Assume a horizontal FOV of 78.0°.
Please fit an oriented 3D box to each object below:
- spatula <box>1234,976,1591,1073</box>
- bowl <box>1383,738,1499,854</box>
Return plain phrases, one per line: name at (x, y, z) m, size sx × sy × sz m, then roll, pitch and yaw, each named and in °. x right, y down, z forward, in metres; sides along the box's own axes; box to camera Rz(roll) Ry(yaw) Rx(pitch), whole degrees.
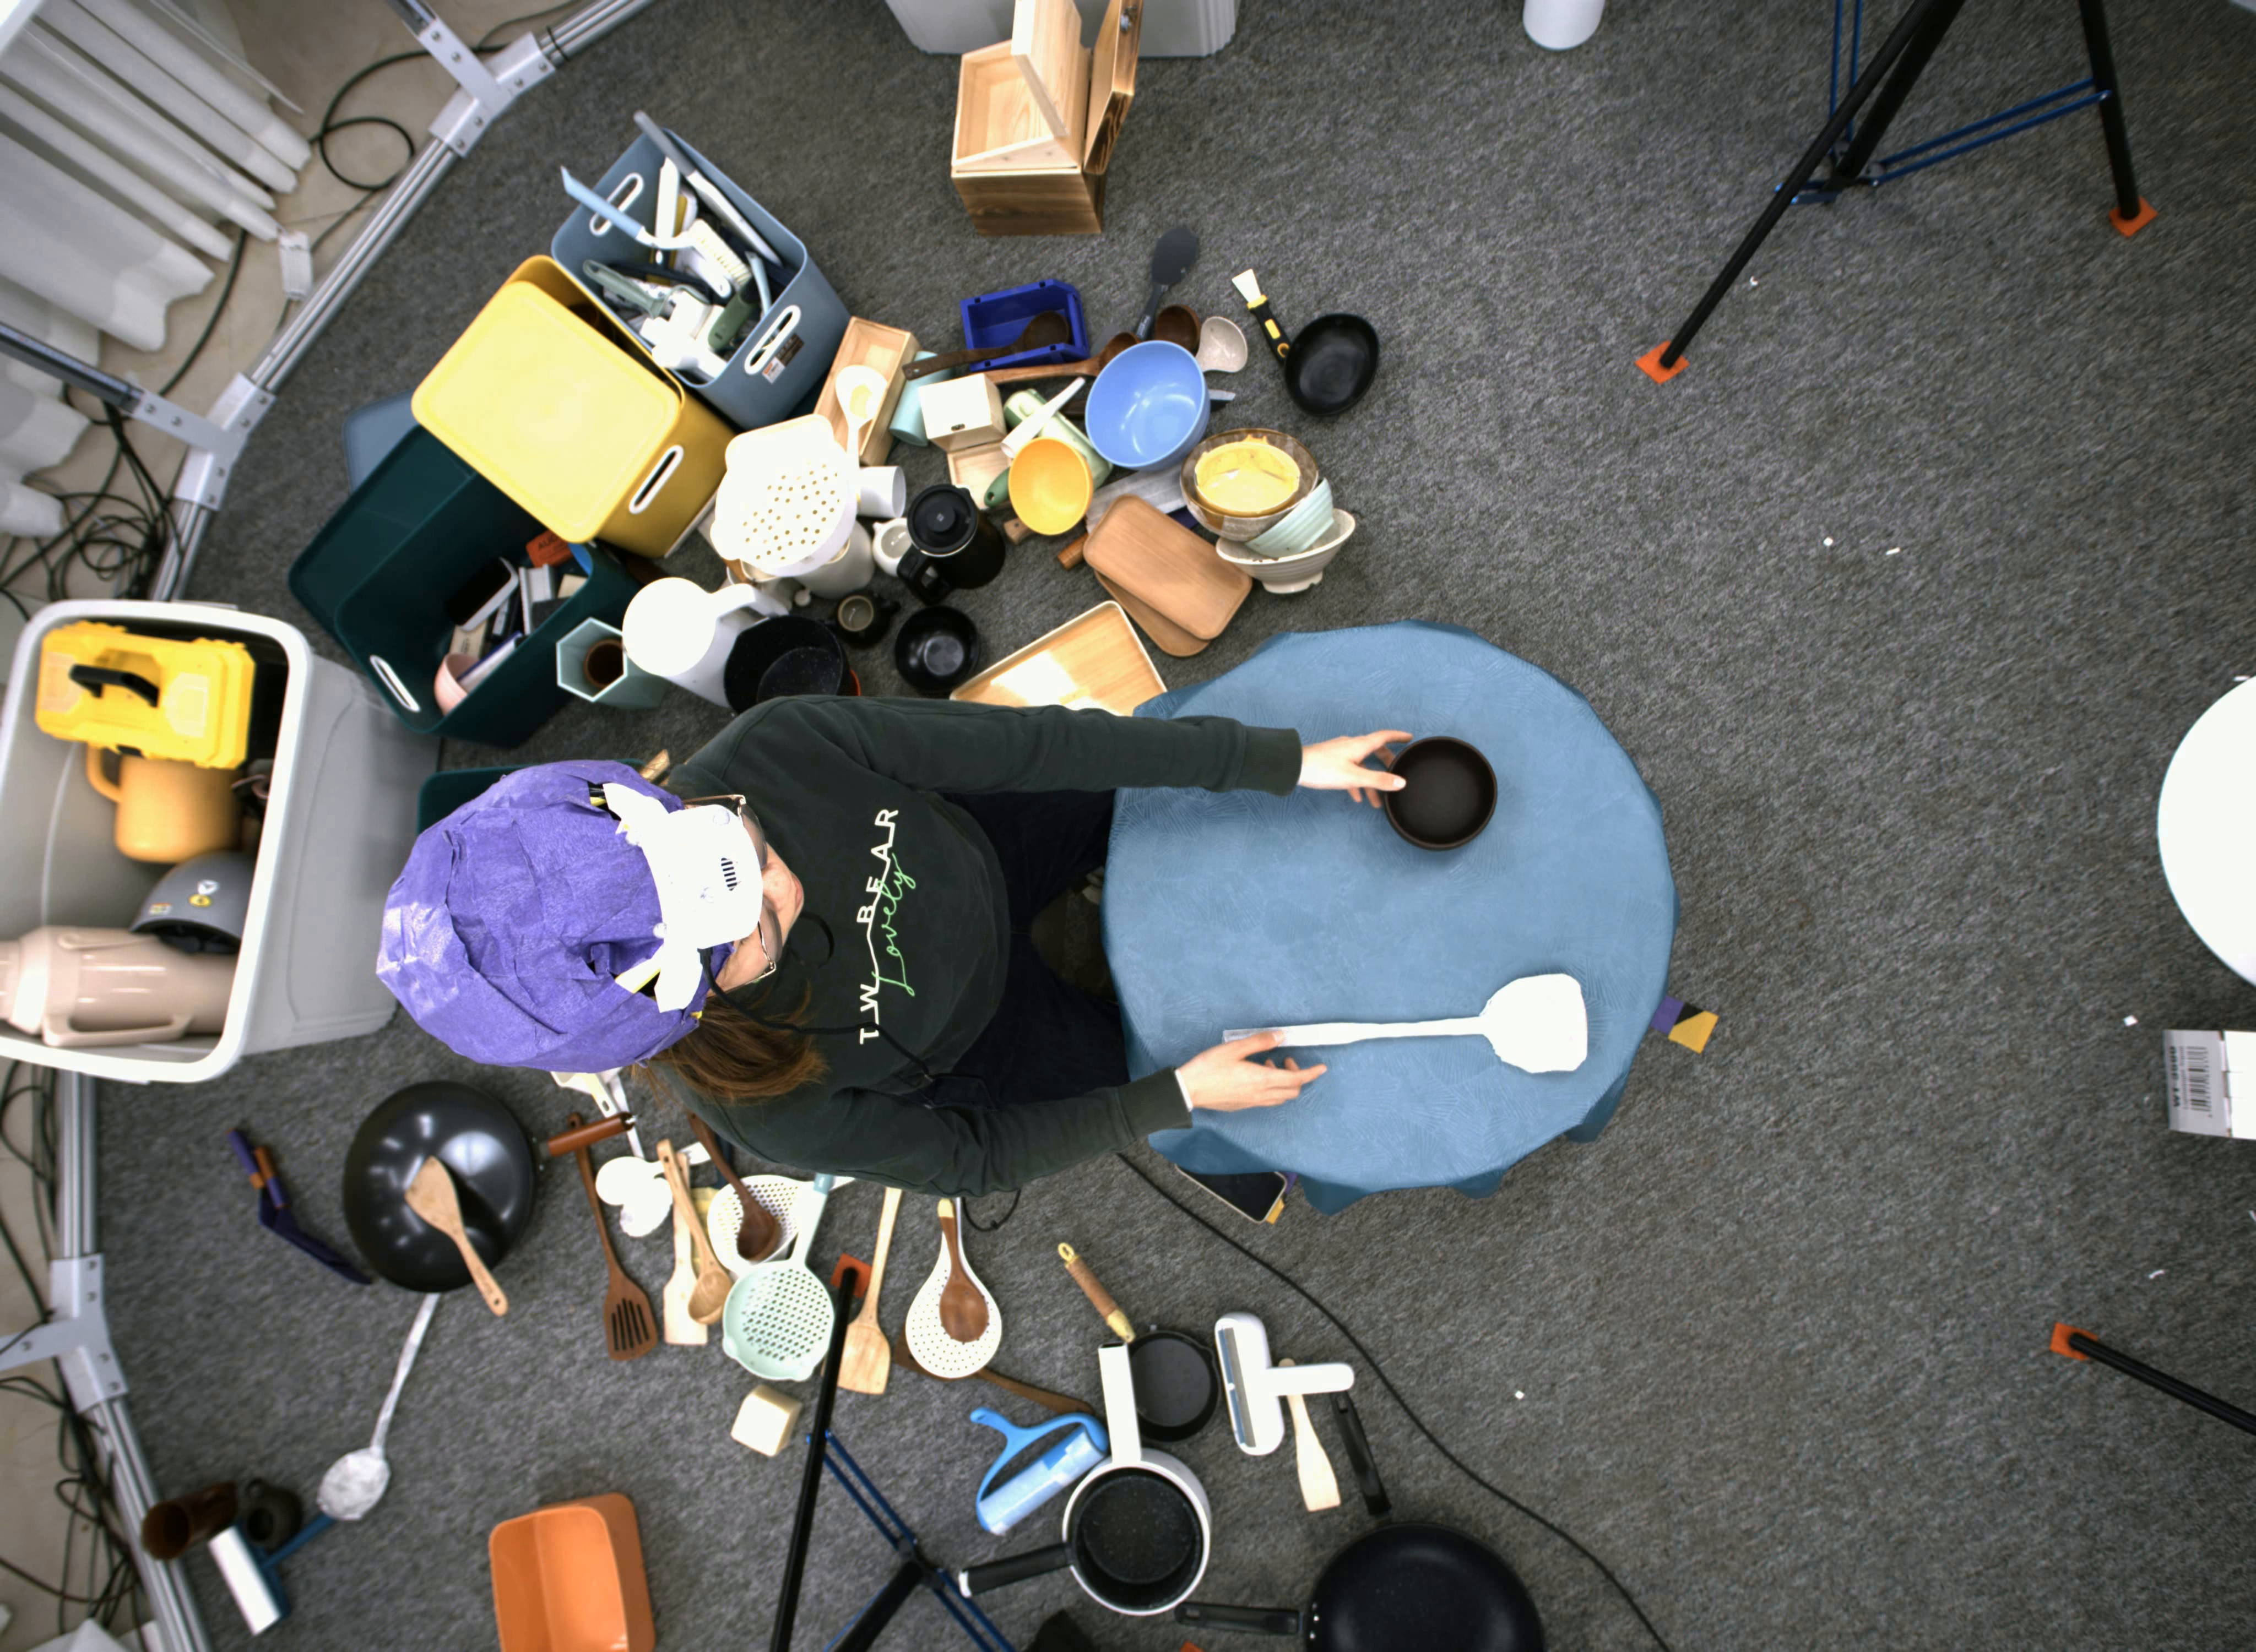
spatula at (0.289, 0.208, 1.432) m, size 0.366 × 0.045 × 0.098 m, roll -3°, pitch 87°, yaw 10°
bowl at (0.323, -0.030, 1.426) m, size 0.118 × 0.070 × 0.117 m, roll -1°, pitch 83°, yaw 11°
